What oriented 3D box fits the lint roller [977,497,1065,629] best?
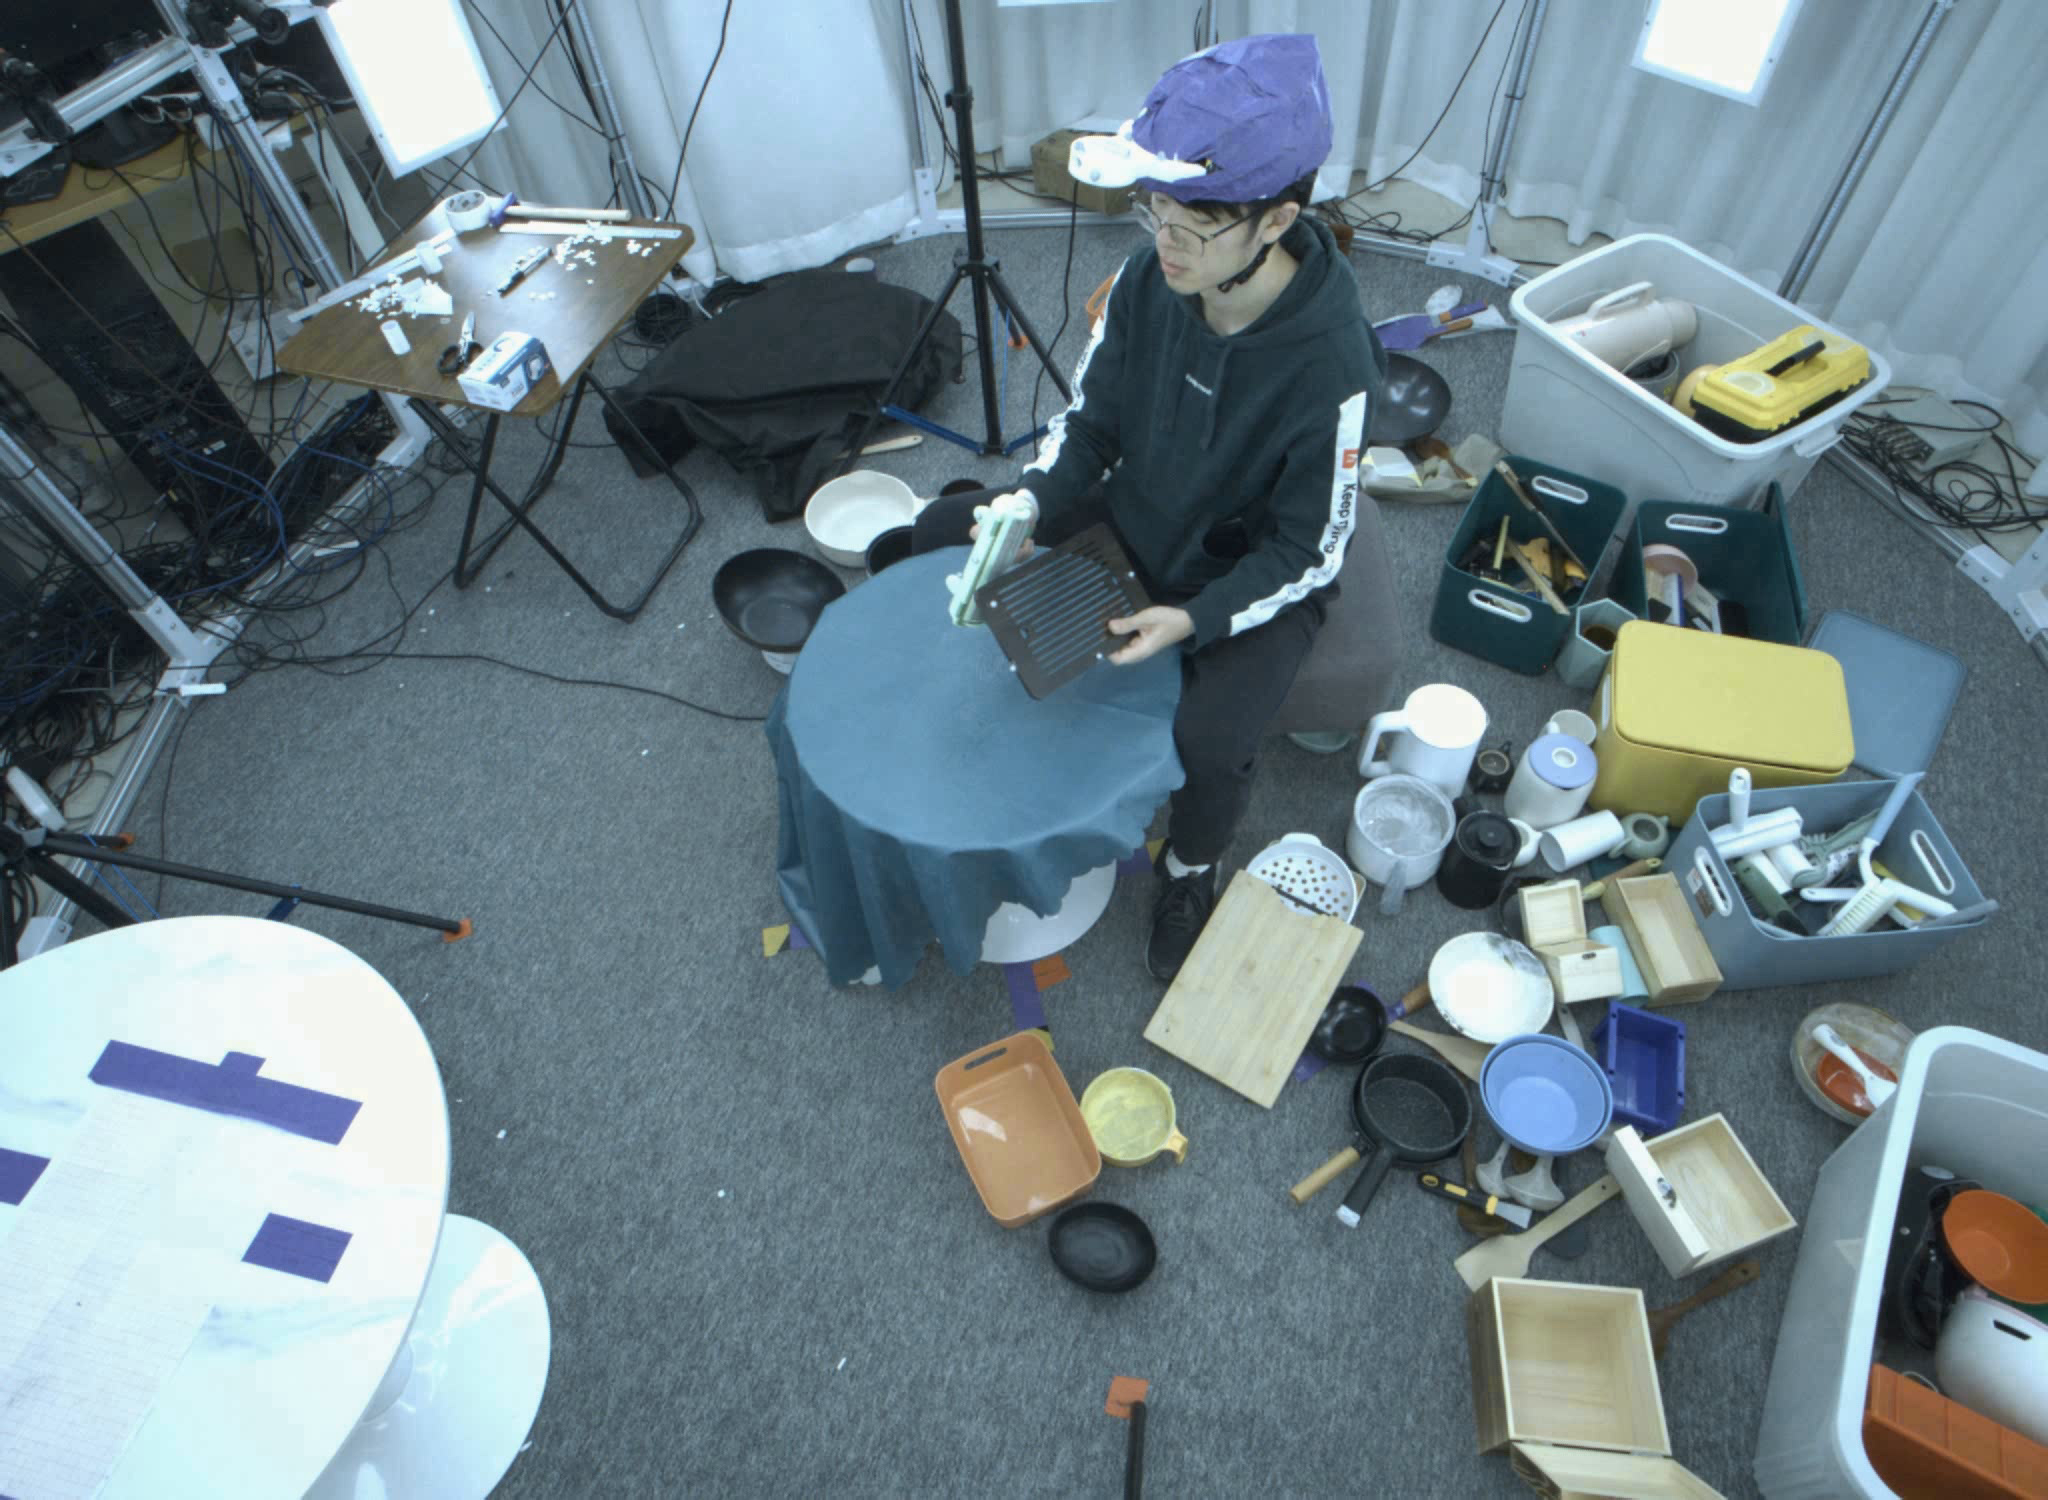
[{"bbox_3d":[0.001,-0.288,1.723,0.082,0.198,0.183,25,36,-4],"label":"lint roller"}]

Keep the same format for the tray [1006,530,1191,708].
[{"bbox_3d":[0.109,-0.187,1.707,0.309,0.018,0.171,-33,98,-41],"label":"tray"}]
